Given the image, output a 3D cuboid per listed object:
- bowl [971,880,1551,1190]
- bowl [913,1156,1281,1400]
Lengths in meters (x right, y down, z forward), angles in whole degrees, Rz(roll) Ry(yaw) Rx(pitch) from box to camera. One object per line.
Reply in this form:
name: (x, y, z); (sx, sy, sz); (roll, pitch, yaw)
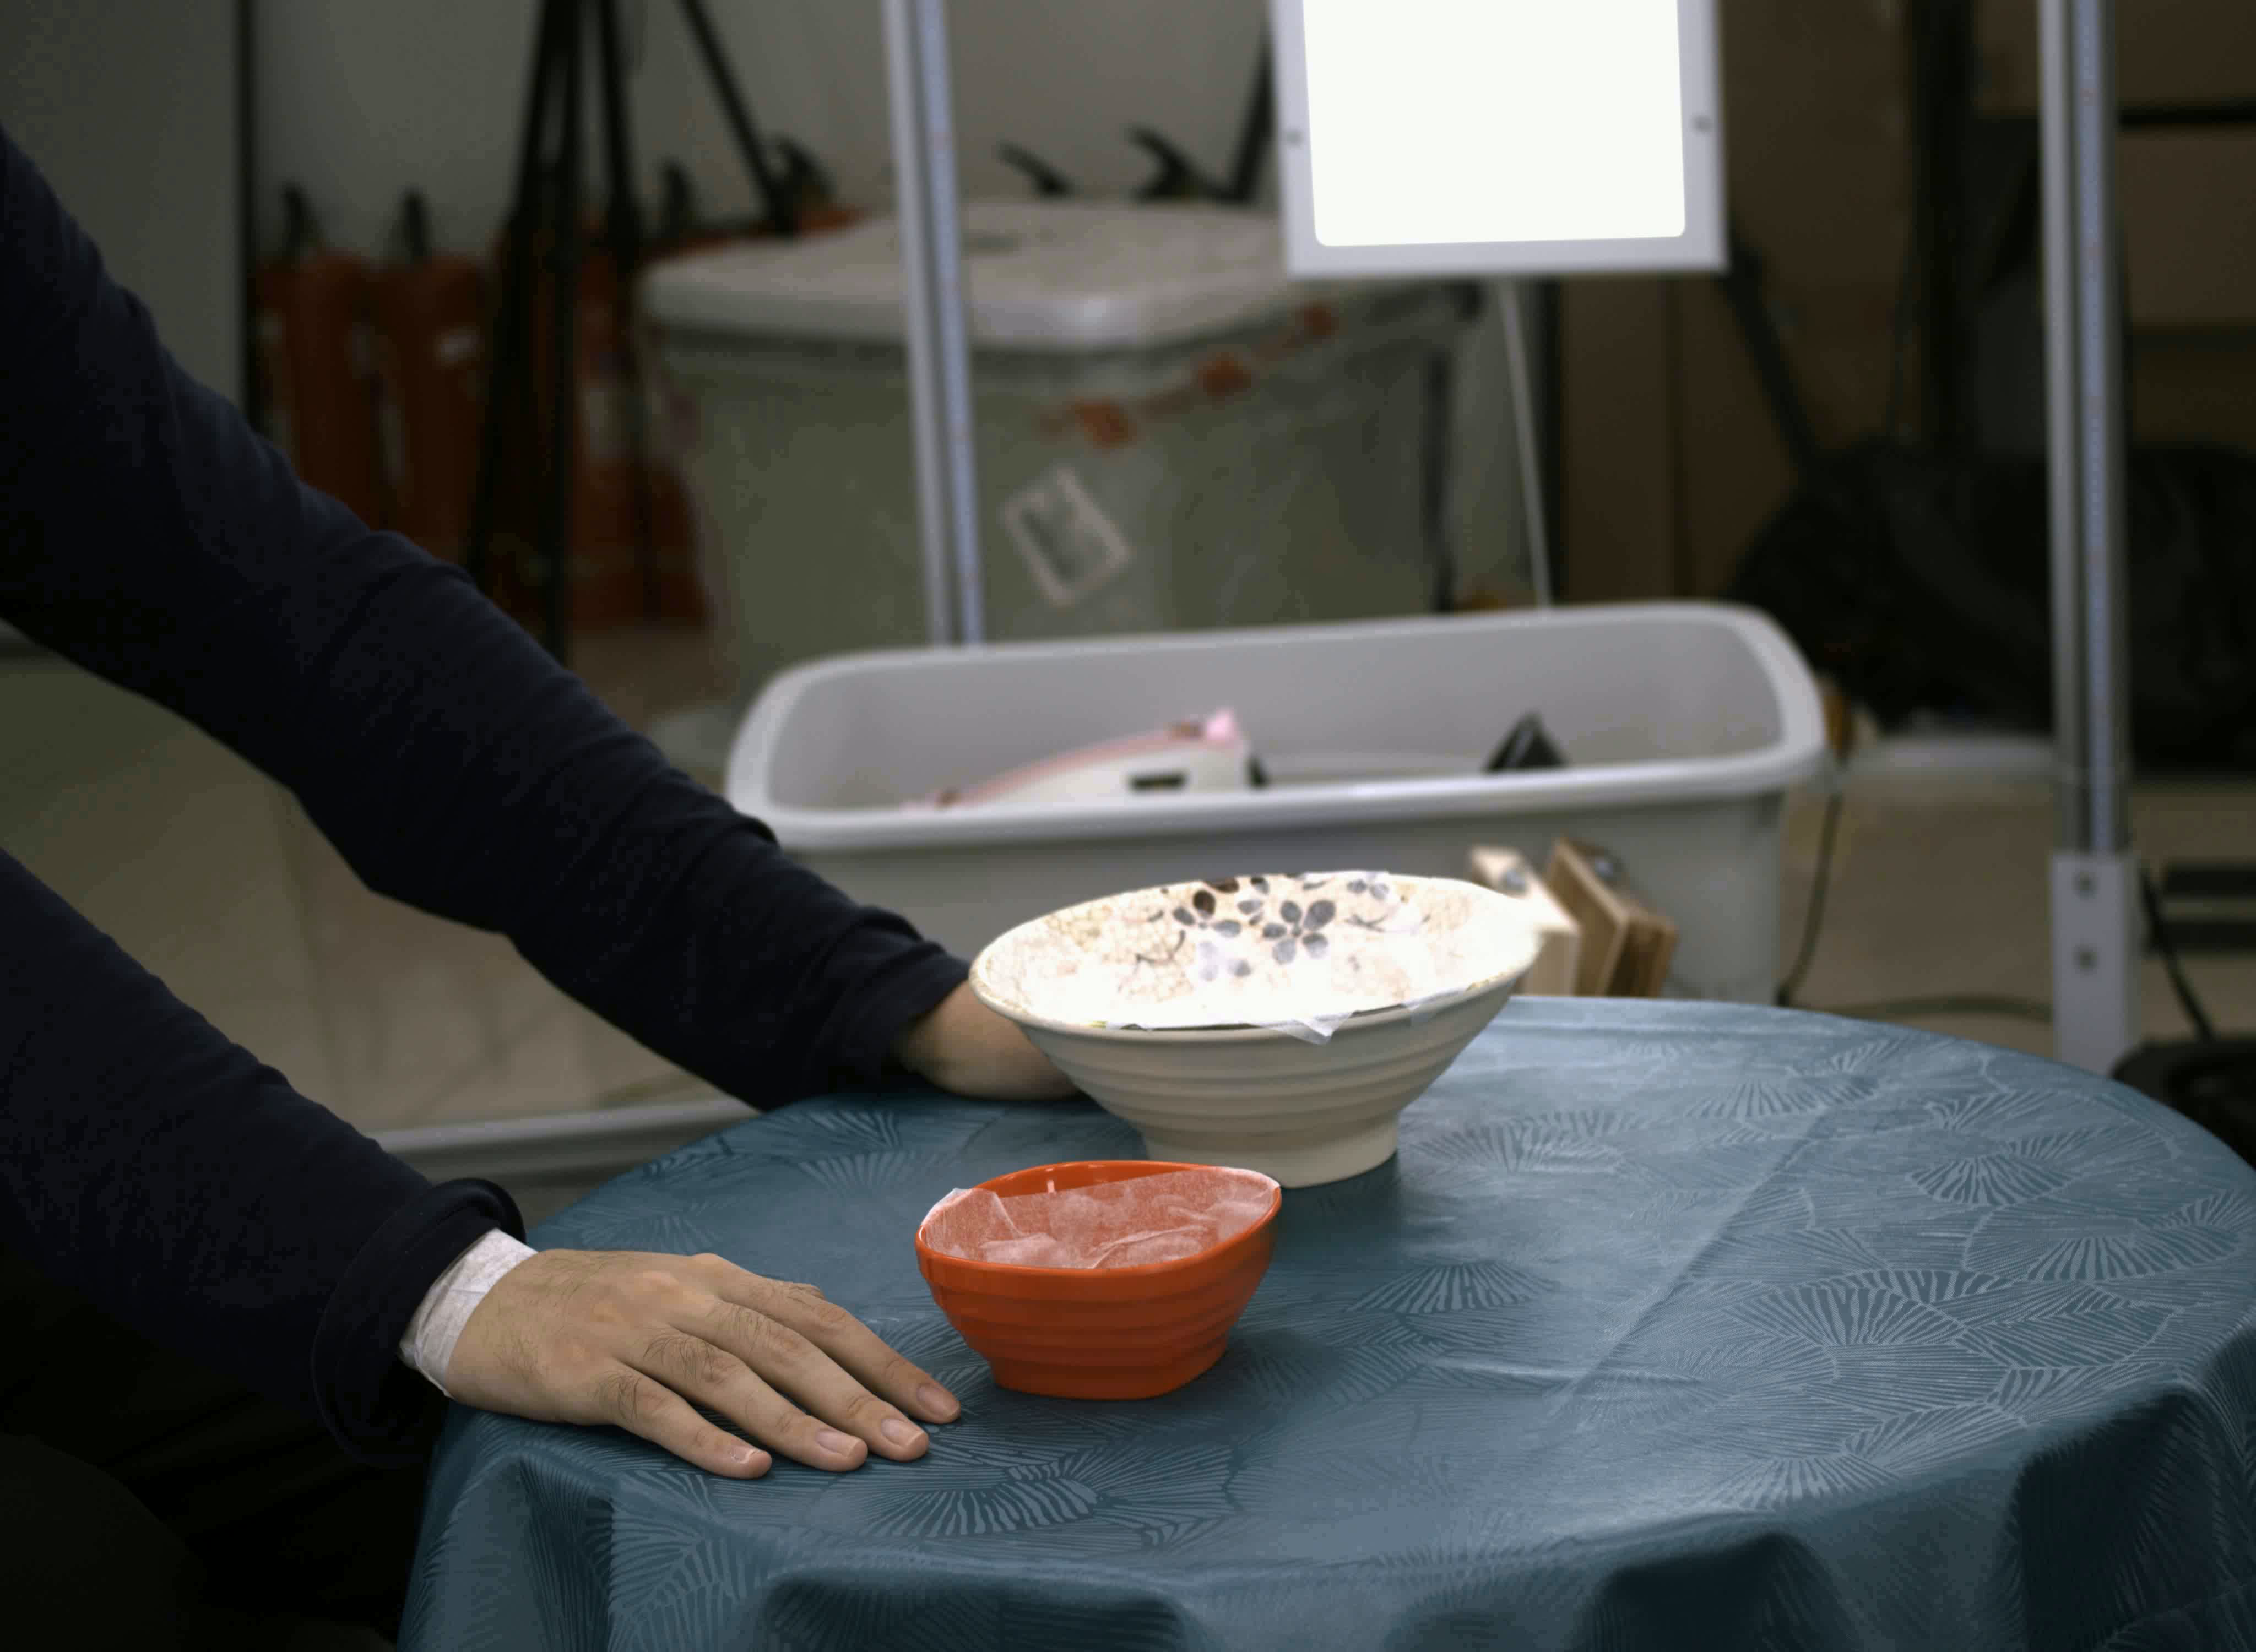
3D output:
bowl: (0.049, 0.079, 1.921); (0.203, 0.078, 0.204); (-5, 13, 0)
bowl: (-0.007, 0.144, 1.726); (0.118, 0.051, 0.119); (-5, 15, 0)
